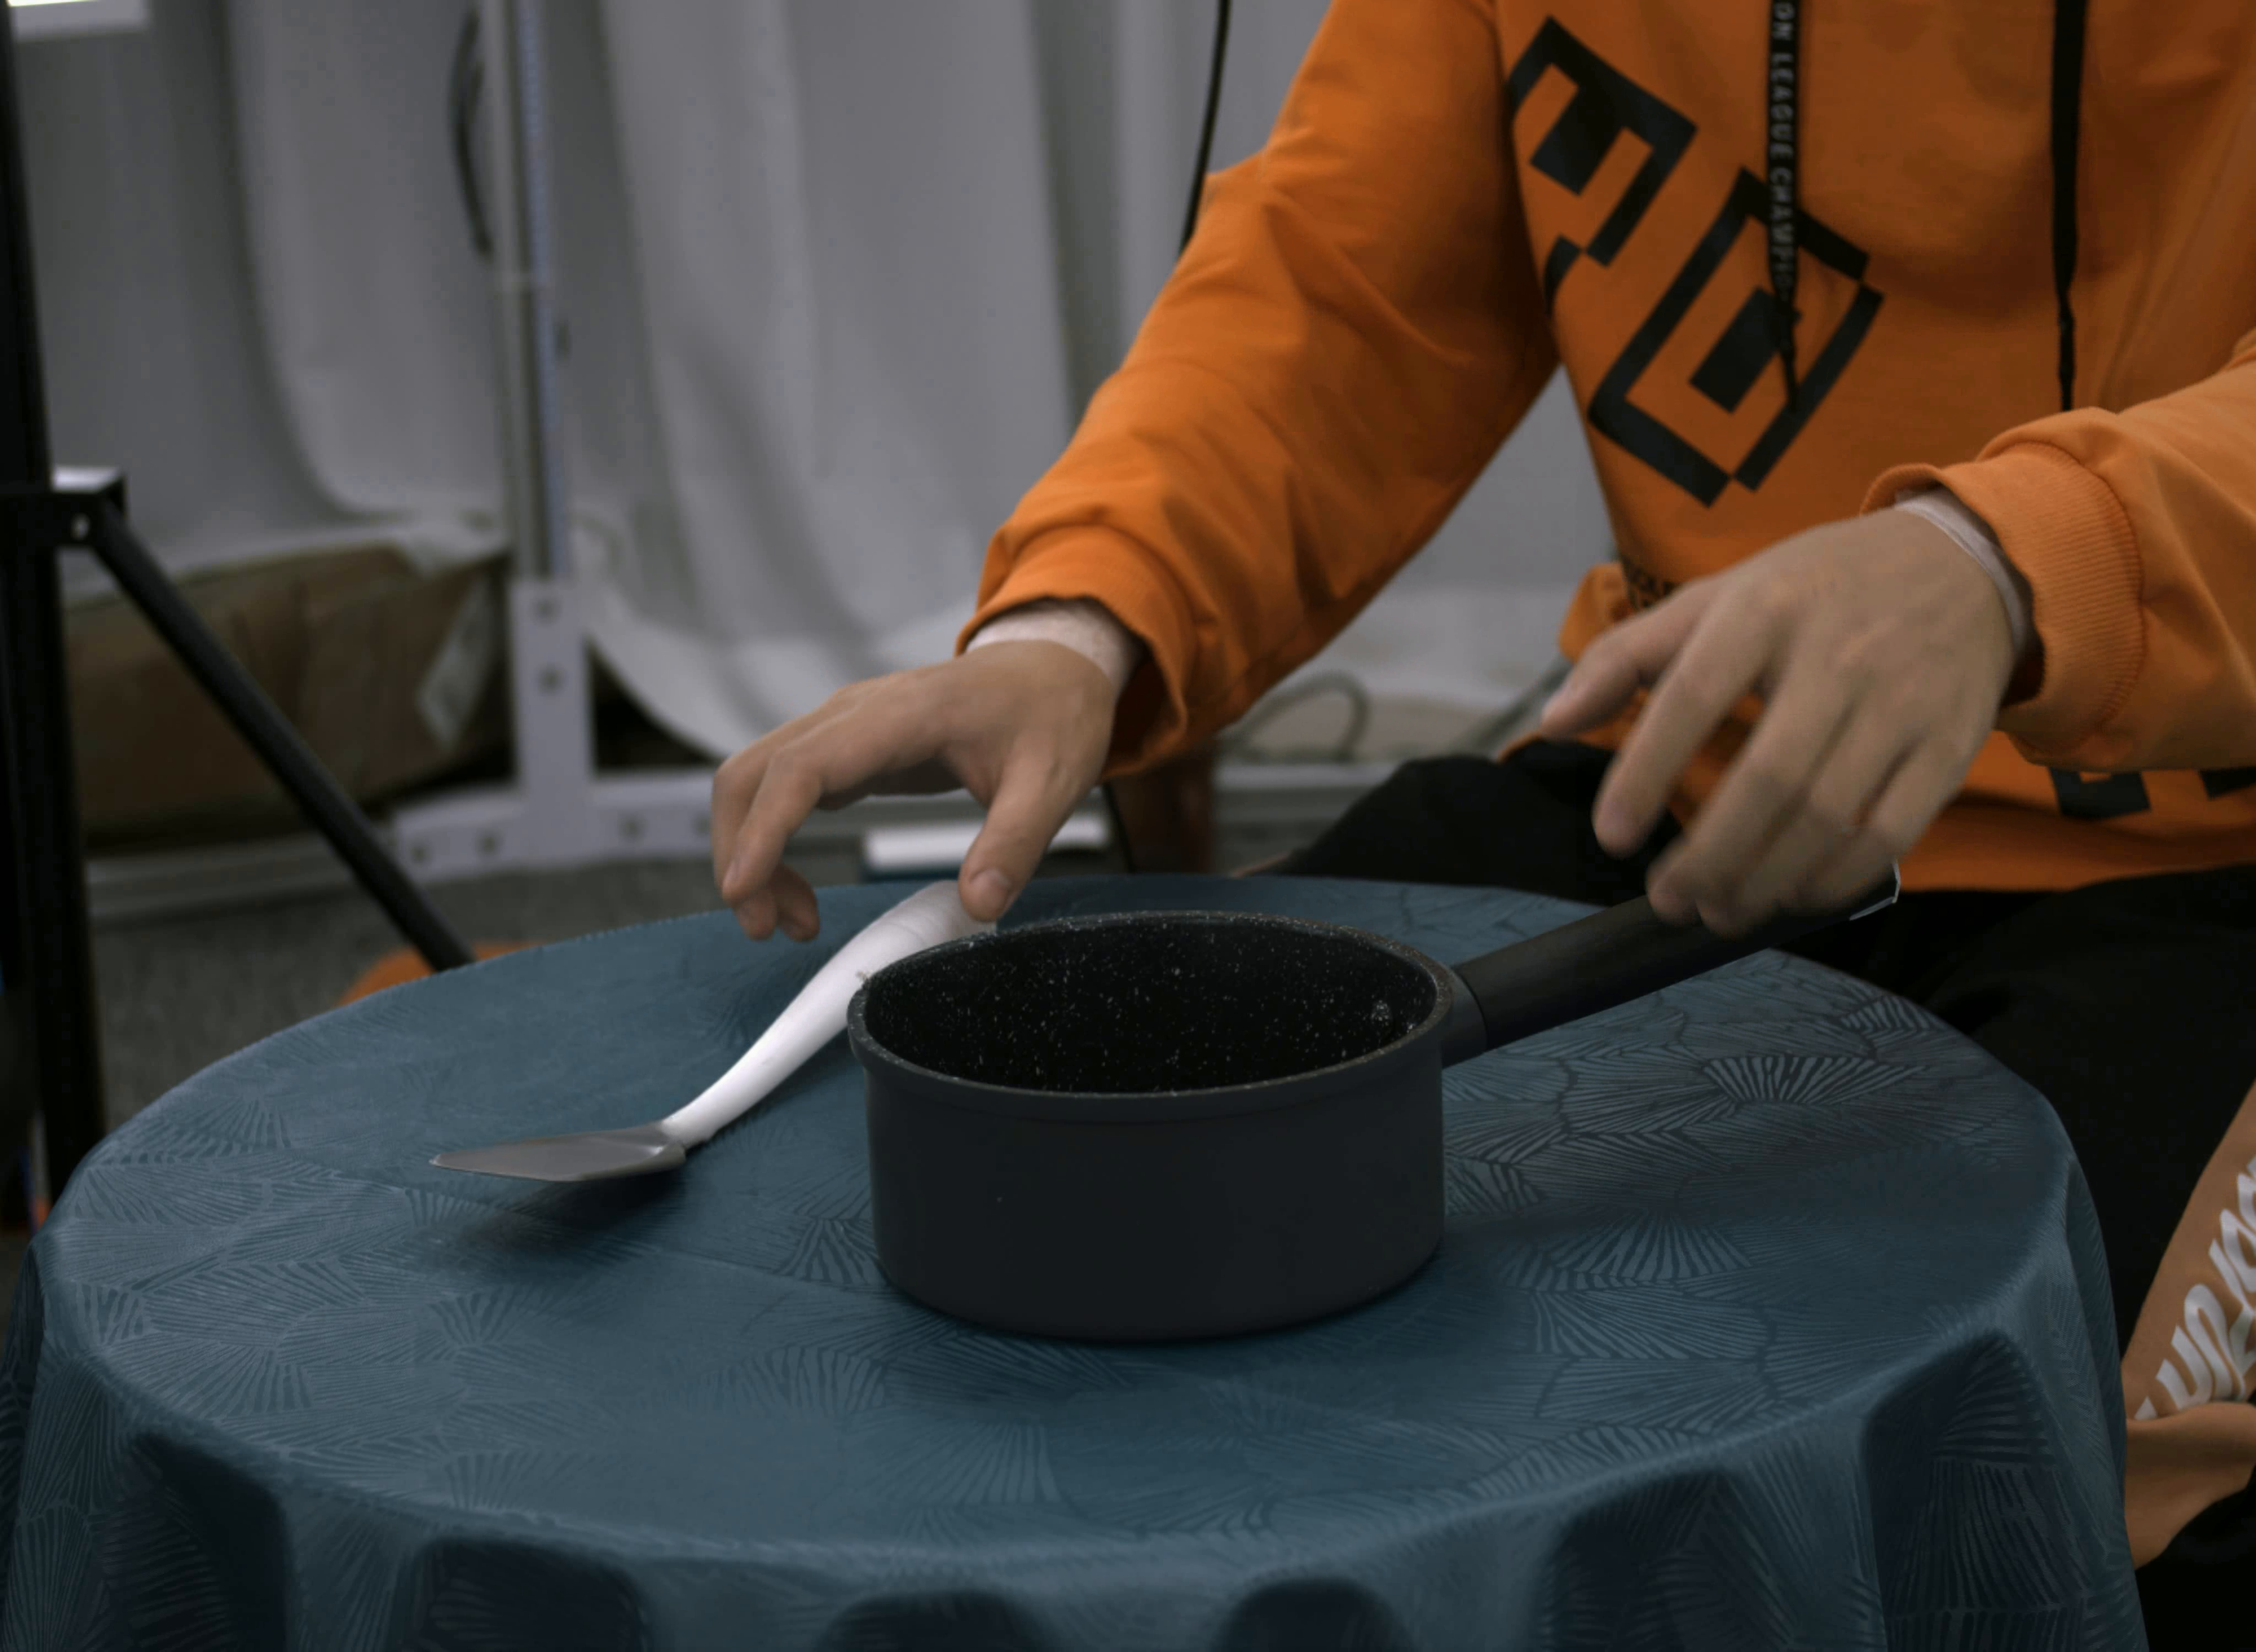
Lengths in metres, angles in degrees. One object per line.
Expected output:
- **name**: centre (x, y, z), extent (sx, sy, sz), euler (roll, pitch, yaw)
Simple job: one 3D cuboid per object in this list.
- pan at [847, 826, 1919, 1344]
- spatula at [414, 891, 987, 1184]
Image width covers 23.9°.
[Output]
- **pan**: centre (0.080, 0.069, 1.526), extent (0.323, 0.086, 0.175), euler (-10, 18, -19)
- **spatula**: centre (-0.122, 0.072, 1.647), extent (0.059, 0.032, 0.283), euler (10, 19, 24)
